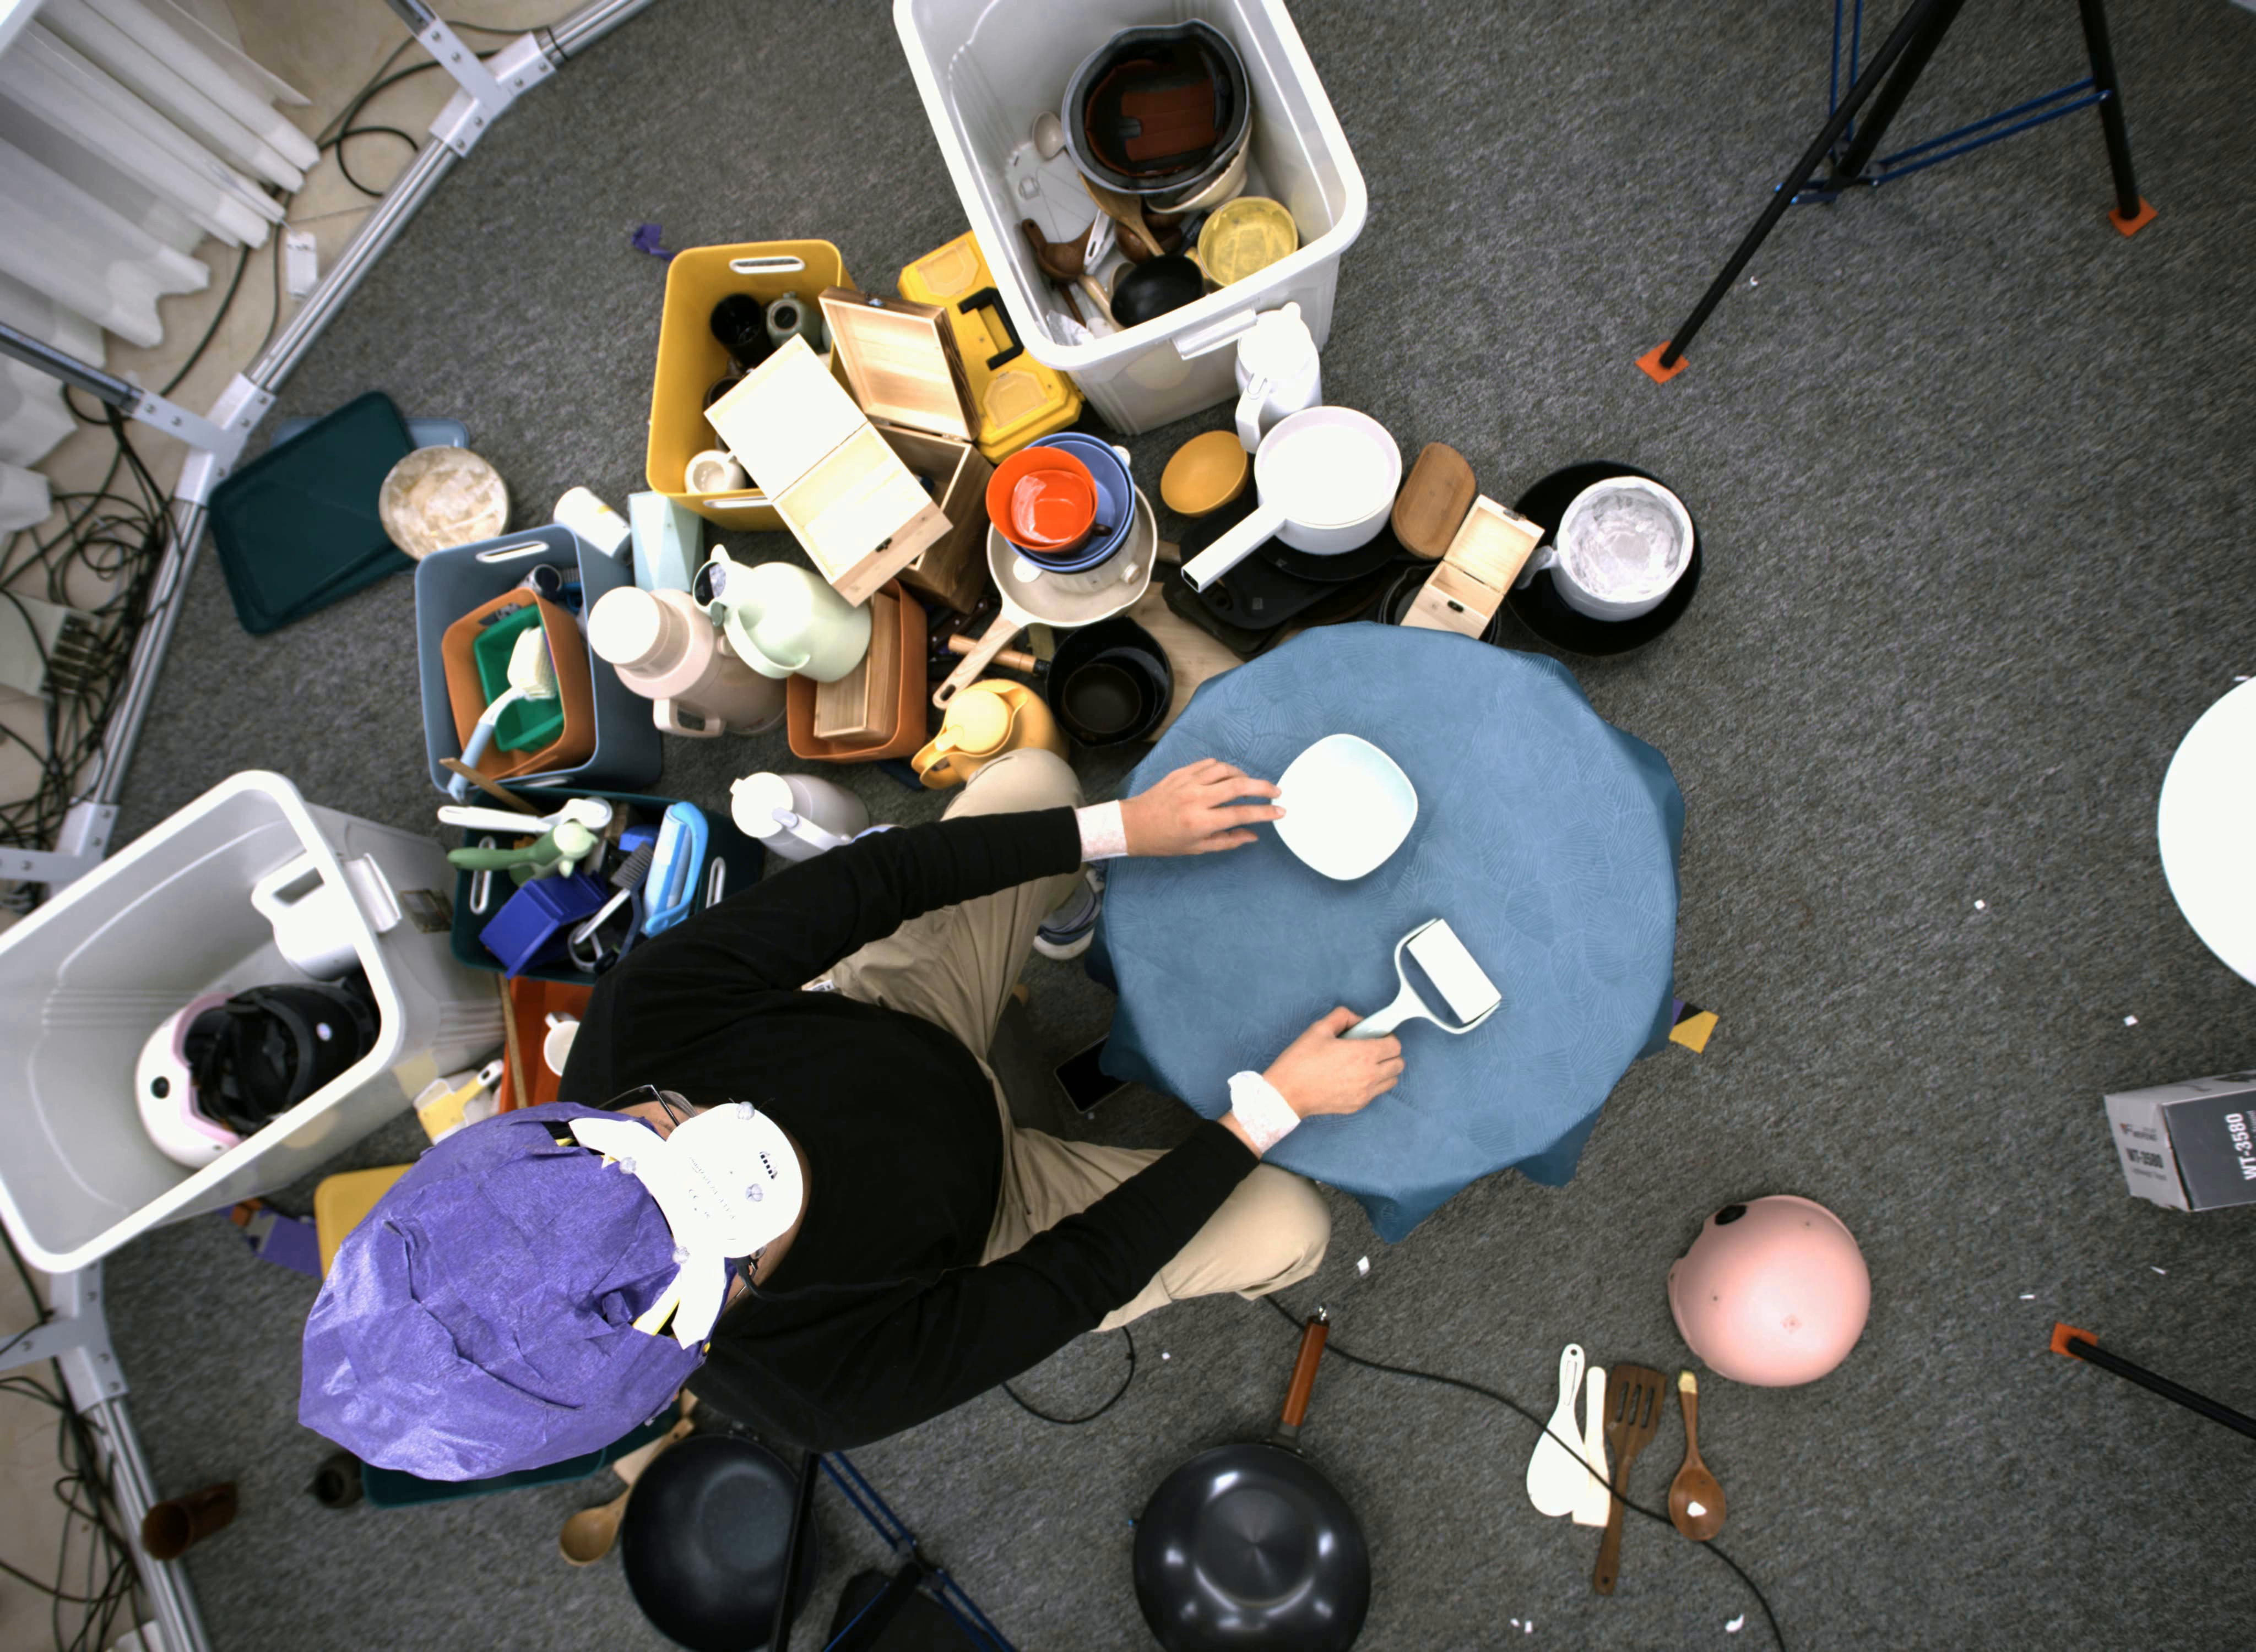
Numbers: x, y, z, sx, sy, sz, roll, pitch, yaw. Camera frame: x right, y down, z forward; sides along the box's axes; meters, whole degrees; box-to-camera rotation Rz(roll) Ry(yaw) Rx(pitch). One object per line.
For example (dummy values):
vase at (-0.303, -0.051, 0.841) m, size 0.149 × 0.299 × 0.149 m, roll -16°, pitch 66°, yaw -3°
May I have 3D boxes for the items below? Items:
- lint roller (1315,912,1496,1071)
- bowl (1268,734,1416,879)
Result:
lint roller at (0.271, 0.185, 1.429) m, size 0.198 × 0.048 × 0.116 m, roll -38°, pitch 83°, yaw 6°
bowl at (0.224, -0.019, 1.445) m, size 0.152 × 0.059 × 0.151 m, roll -1°, pitch 86°, yaw 9°
